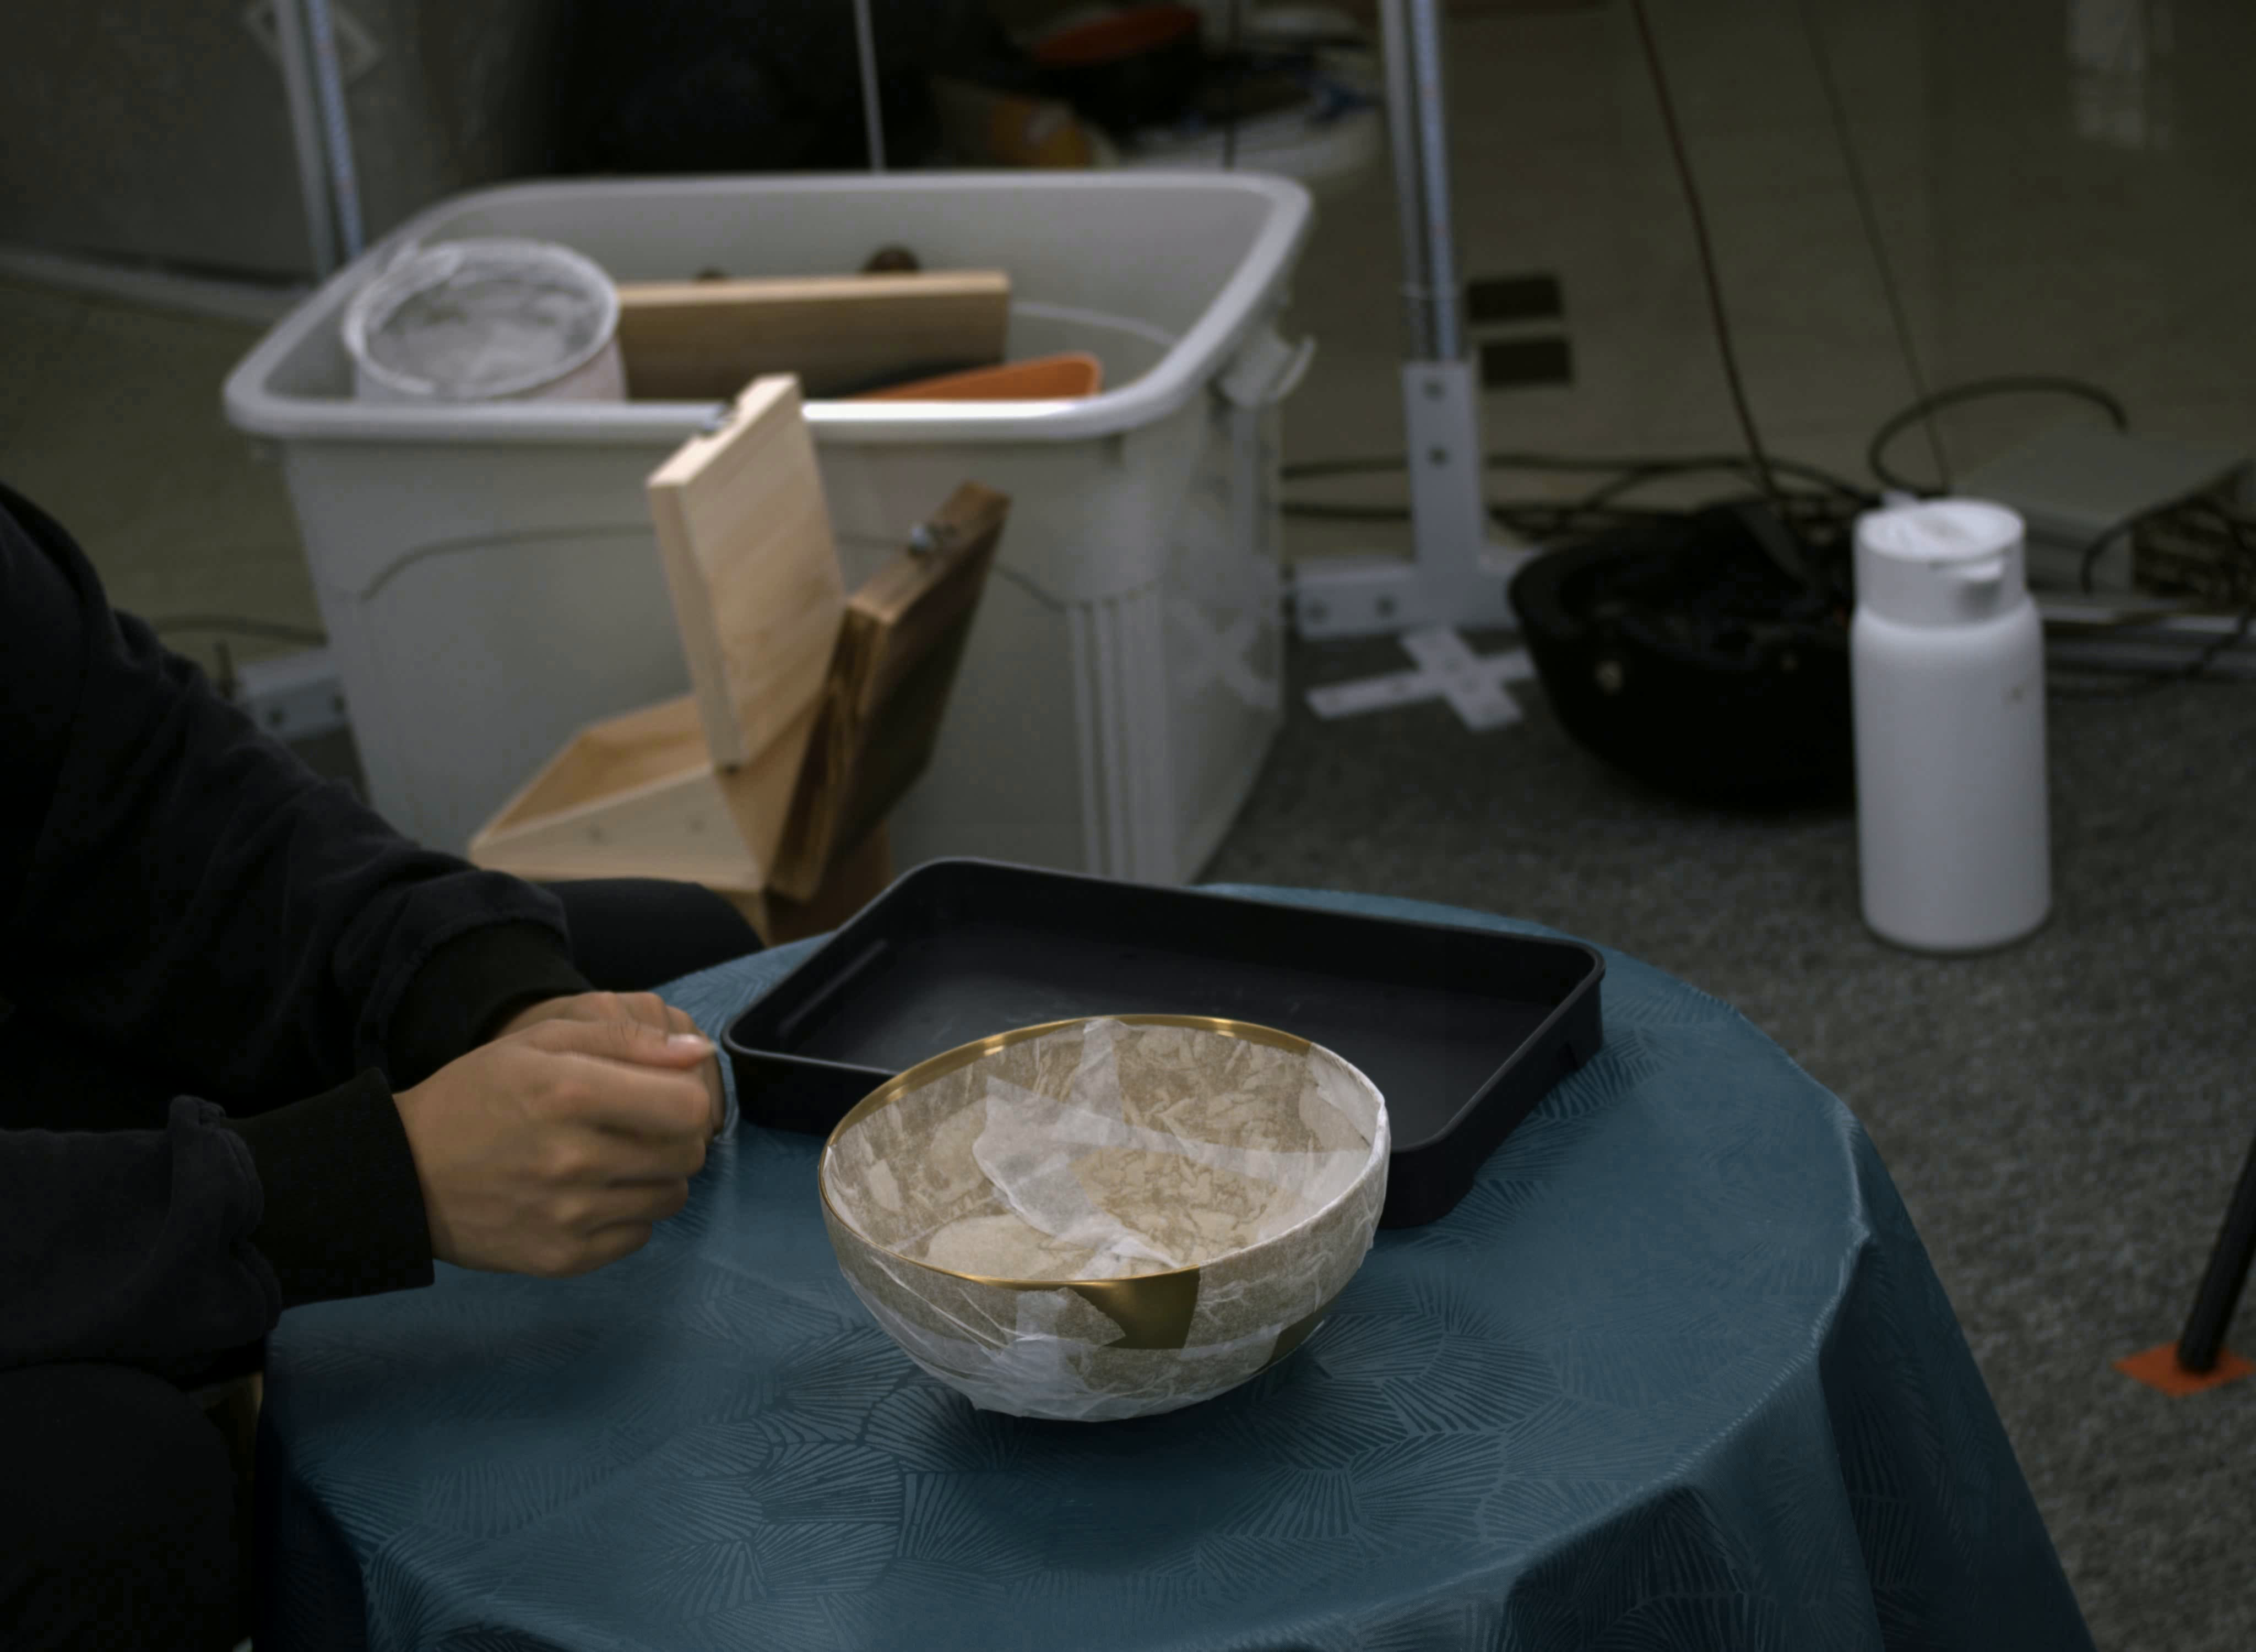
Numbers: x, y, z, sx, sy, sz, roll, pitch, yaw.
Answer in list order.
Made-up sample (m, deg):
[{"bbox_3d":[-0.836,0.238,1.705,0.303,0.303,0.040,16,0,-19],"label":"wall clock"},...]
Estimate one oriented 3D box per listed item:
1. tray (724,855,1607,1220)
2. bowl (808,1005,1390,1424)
[{"bbox_3d":[0.015,0.080,2.226,0.317,0.037,0.182,7,29,30],"label":"tray"},{"bbox_3d":[-0.008,0.151,2.020,0.214,0.096,0.211,-5,26,3],"label":"bowl"}]
